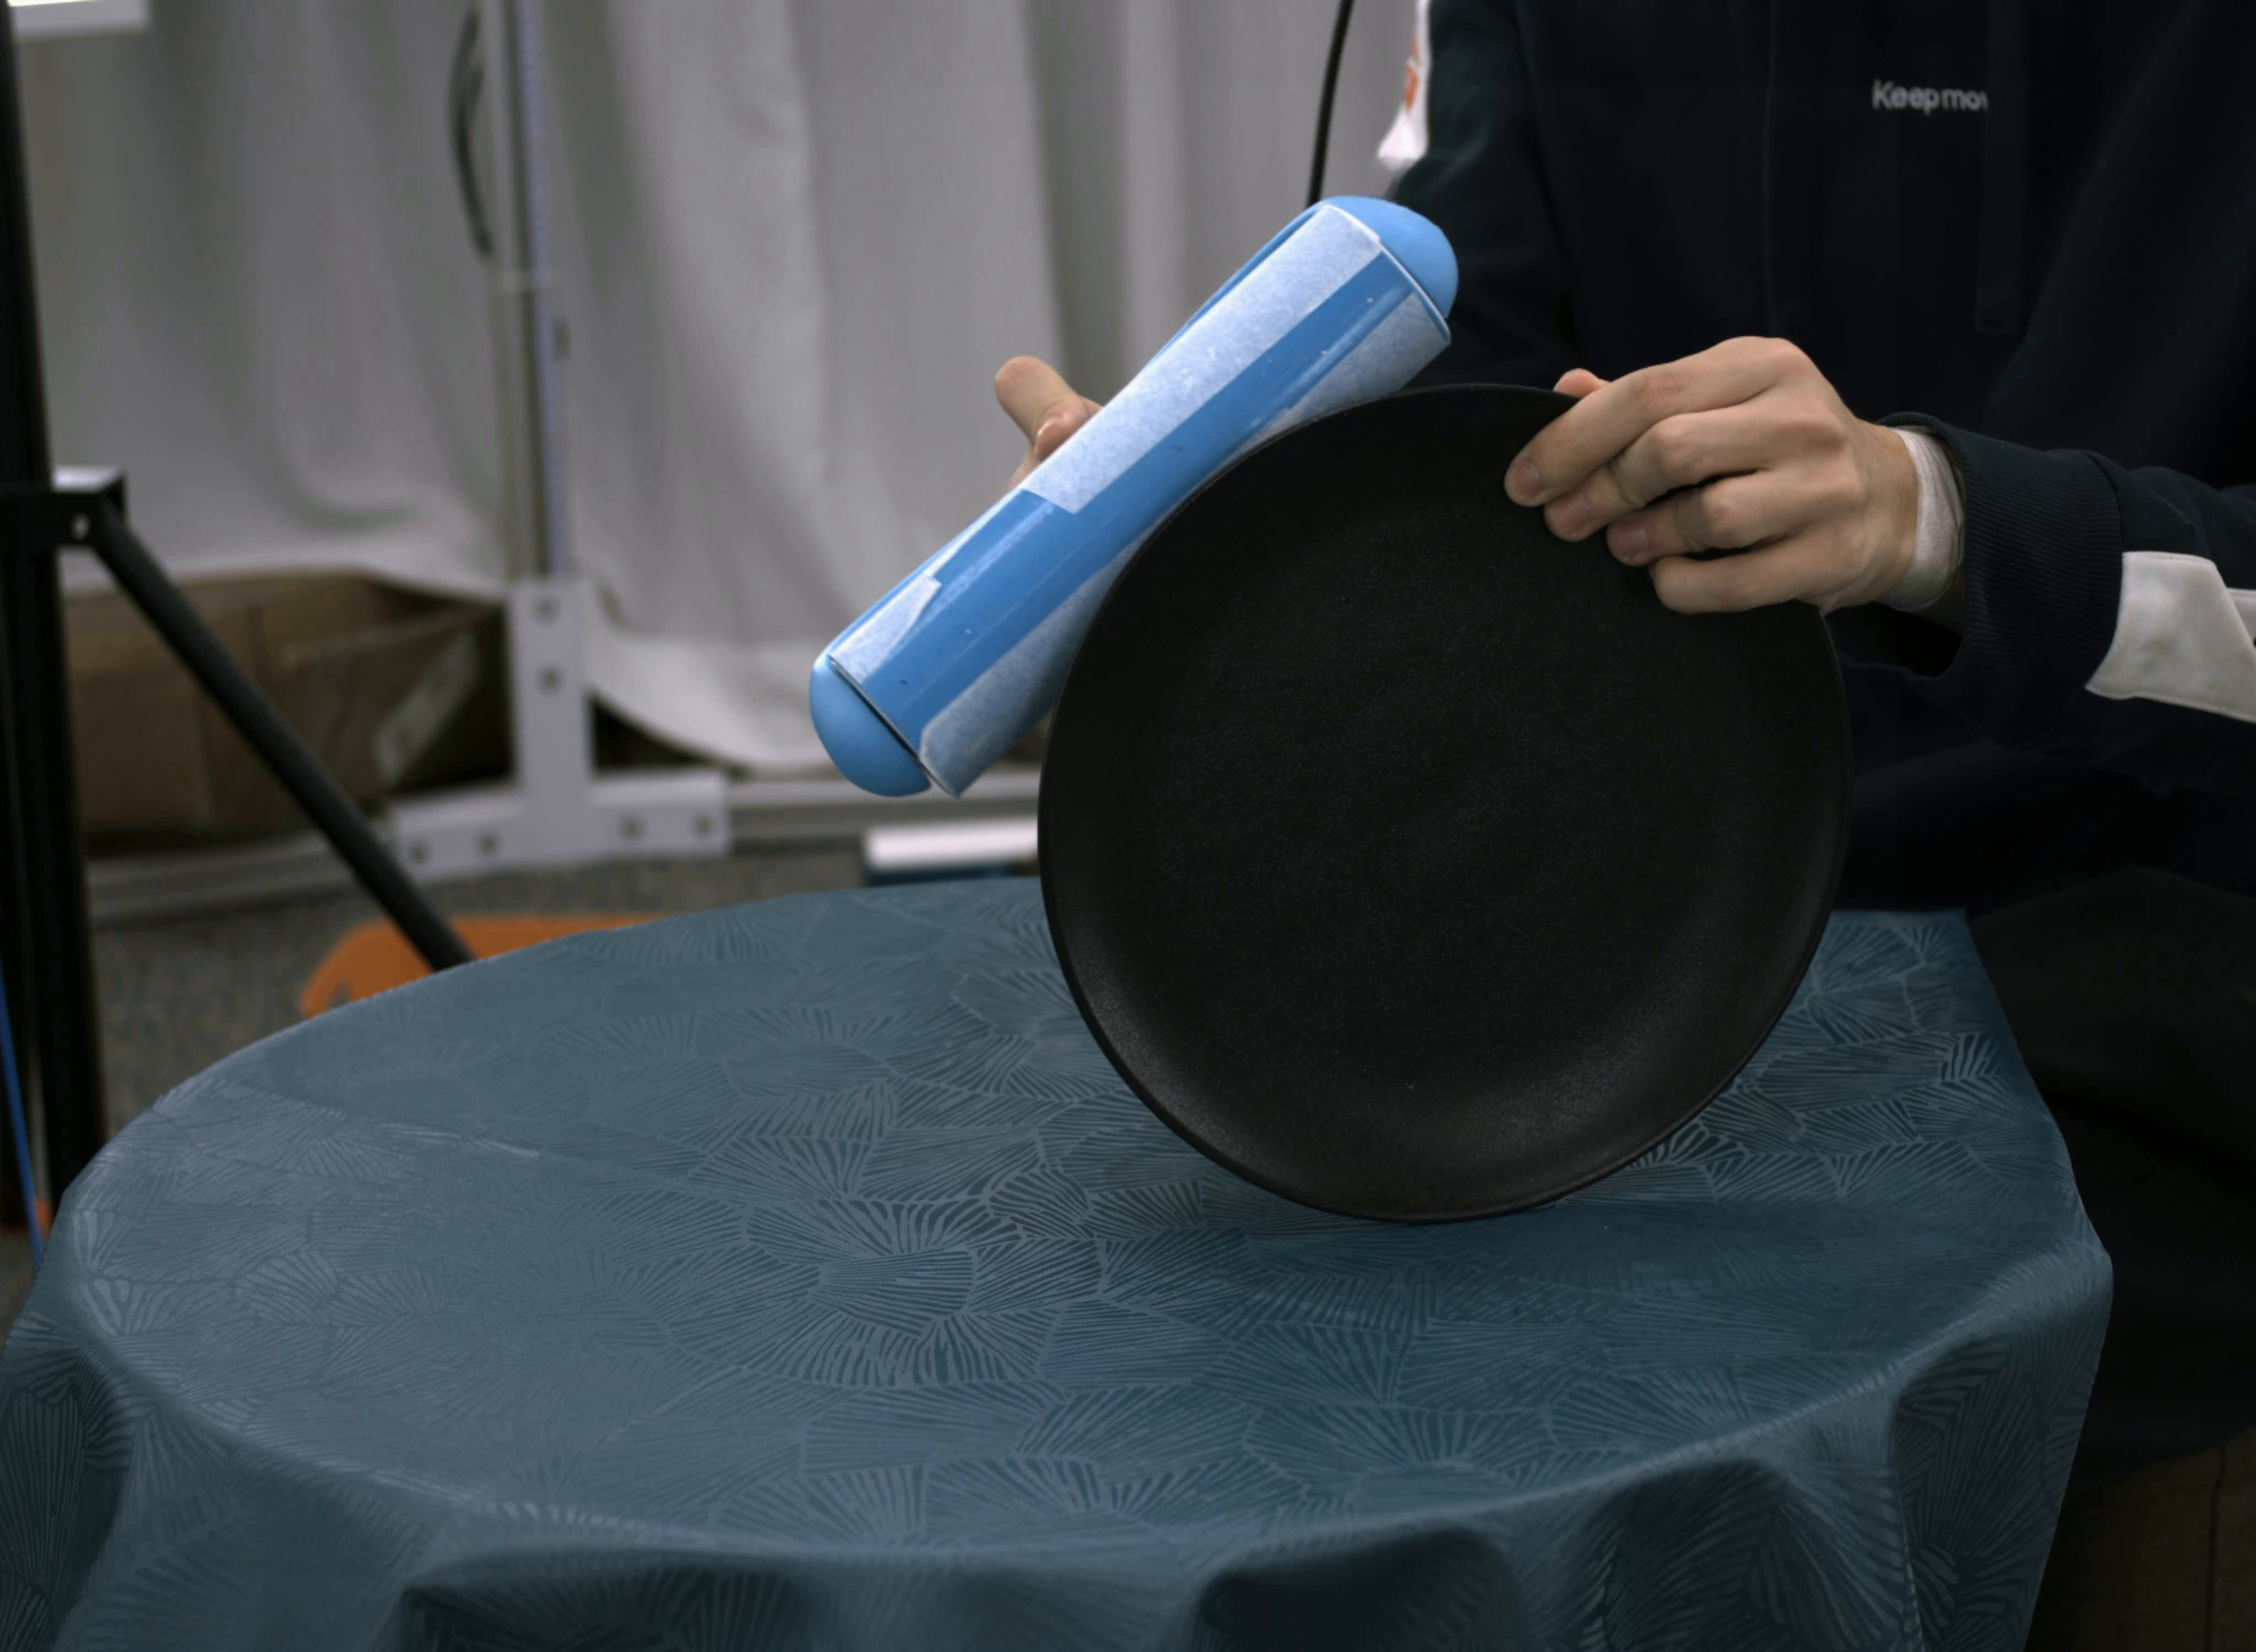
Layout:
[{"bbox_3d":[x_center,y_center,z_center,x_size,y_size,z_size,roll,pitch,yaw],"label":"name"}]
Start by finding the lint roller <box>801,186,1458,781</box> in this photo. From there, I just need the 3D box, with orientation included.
[{"bbox_3d":[0.002,-0.086,1.555,0.228,0.068,0.179,-42,-8,-6],"label":"lint roller"}]

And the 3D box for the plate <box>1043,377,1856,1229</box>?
[{"bbox_3d":[0.091,-0.006,1.505,0.241,0.244,0.024,-6,12,-13],"label":"plate"}]
